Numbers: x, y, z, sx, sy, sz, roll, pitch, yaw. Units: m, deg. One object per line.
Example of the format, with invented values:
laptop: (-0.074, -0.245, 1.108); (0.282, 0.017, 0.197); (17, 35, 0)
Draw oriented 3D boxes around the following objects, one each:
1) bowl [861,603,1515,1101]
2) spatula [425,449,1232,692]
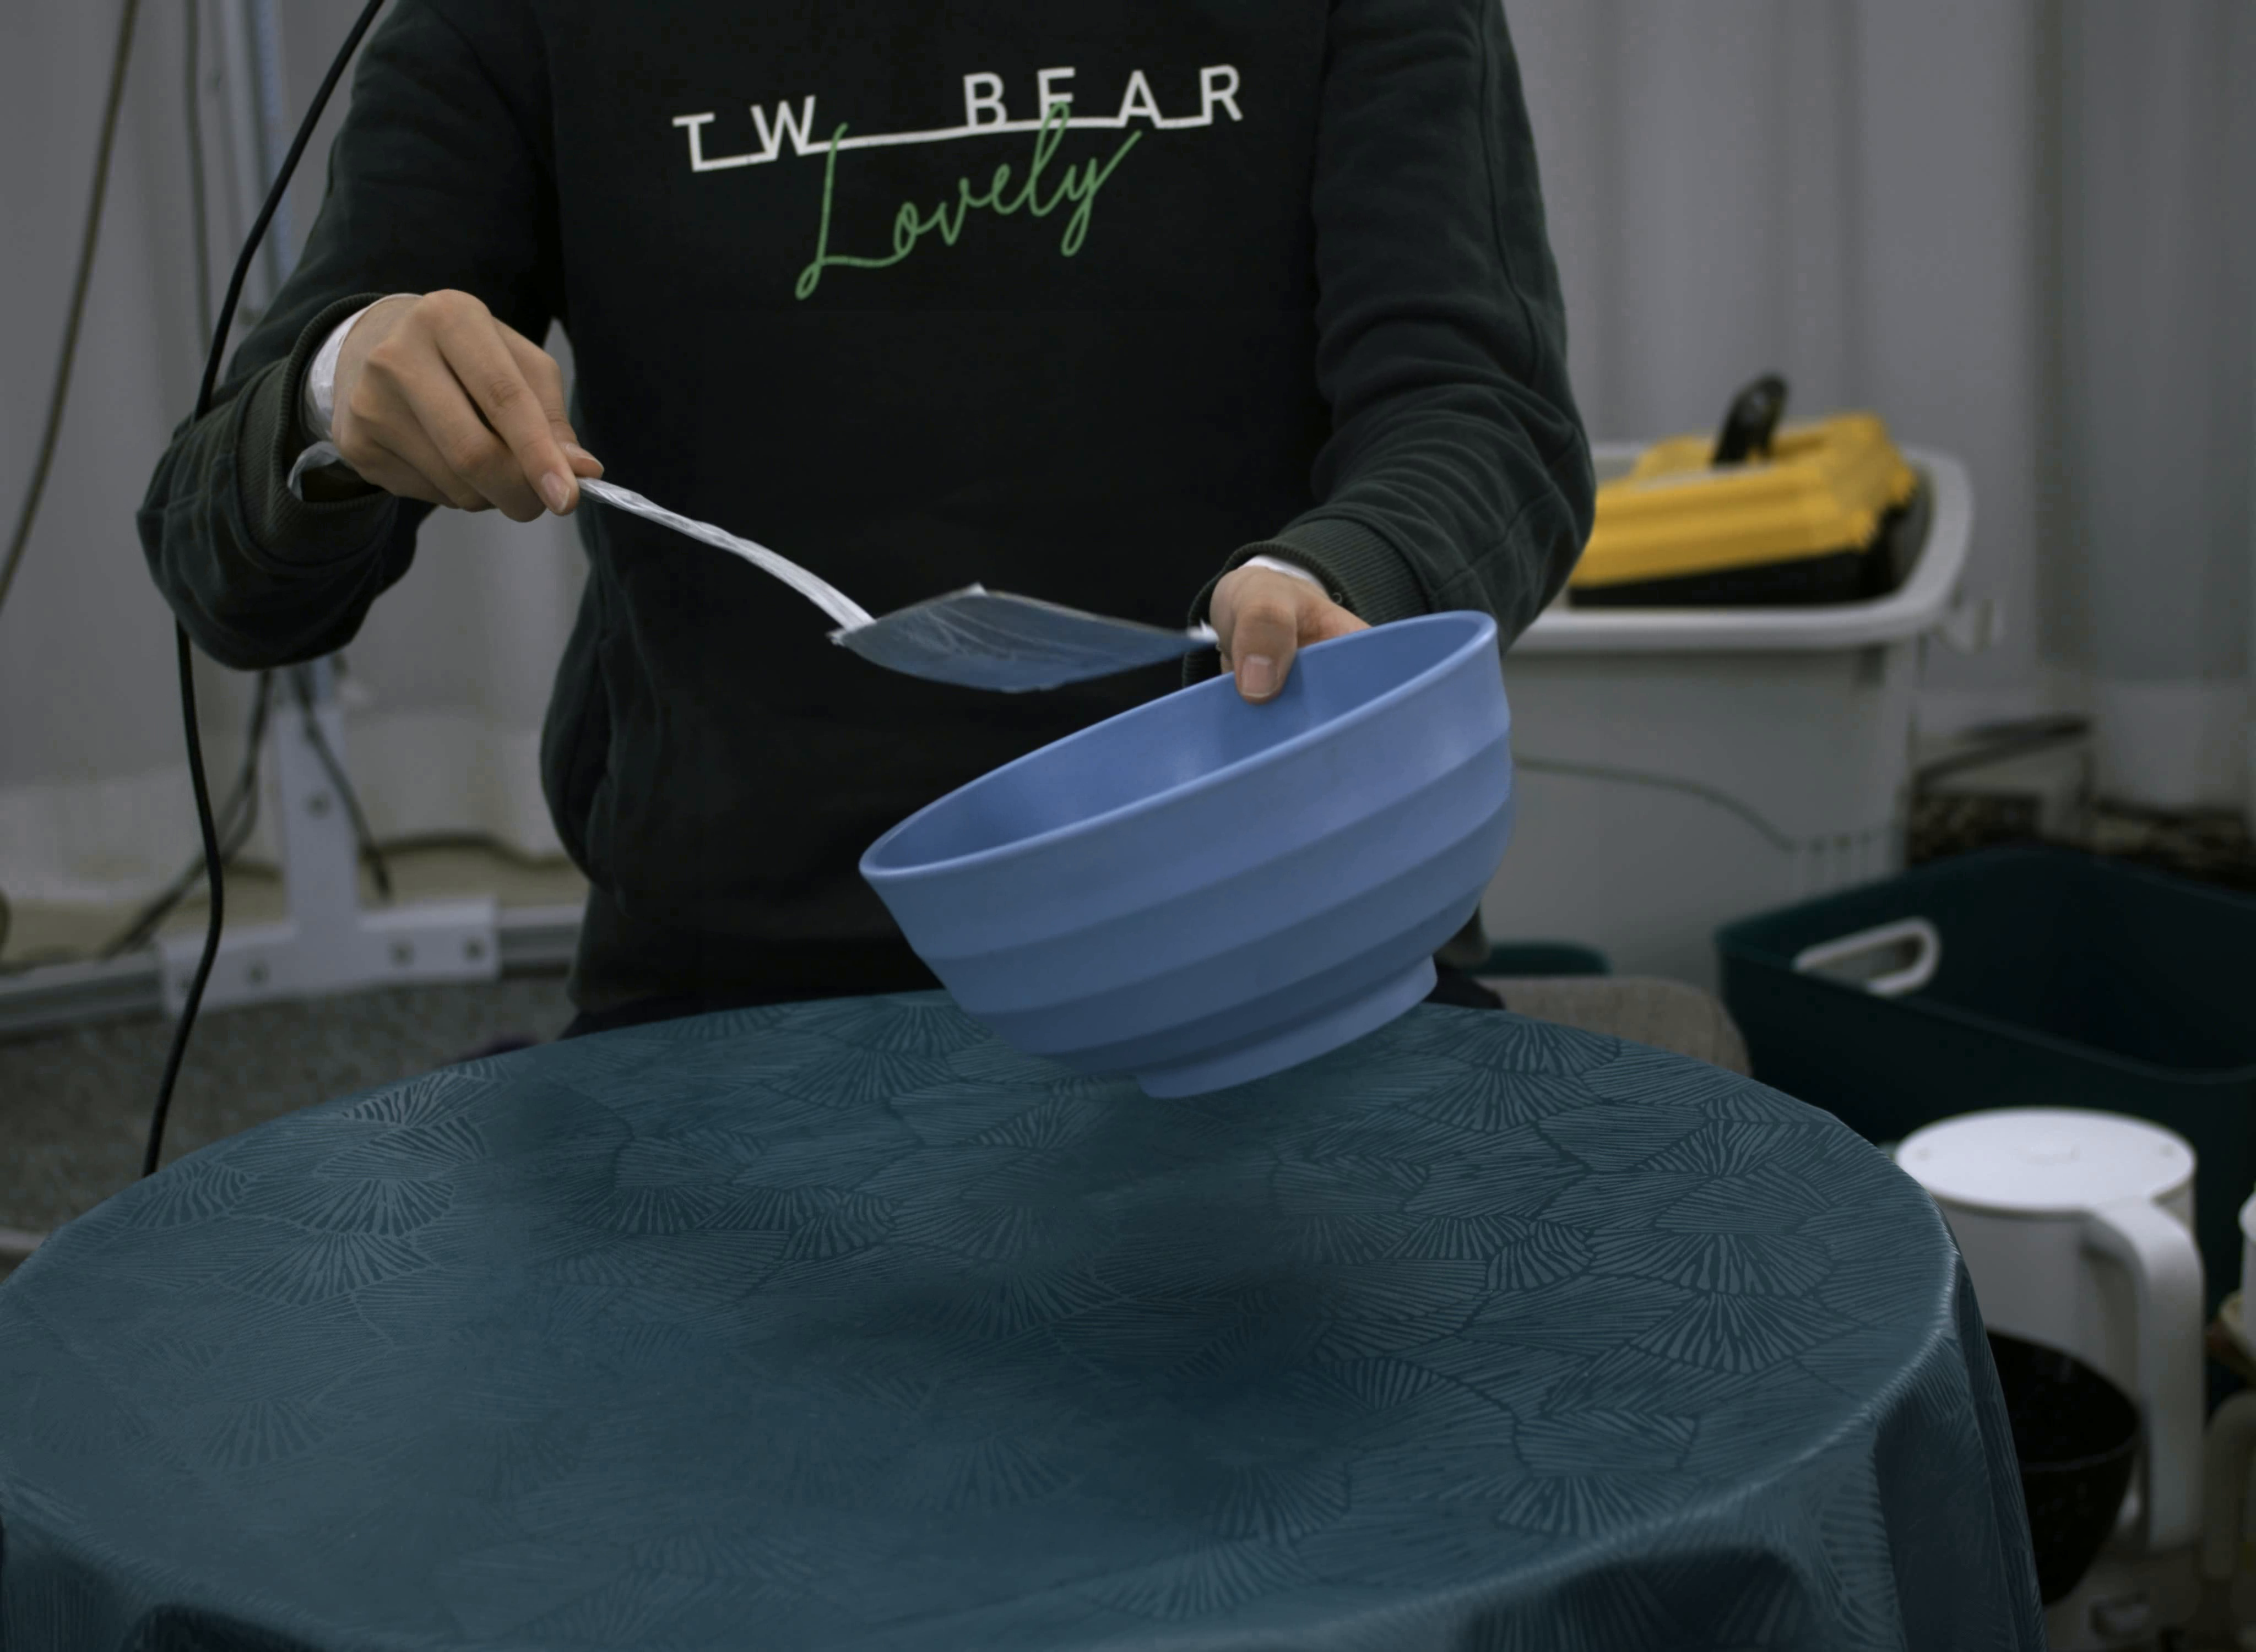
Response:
bowl: (0.030, 0.017, 1.576); (0.196, 0.095, 0.197); (-21, 9, 3)
spatula: (-0.114, -0.088, 1.672); (0.098, 0.045, 0.368); (8, 11, -42)
